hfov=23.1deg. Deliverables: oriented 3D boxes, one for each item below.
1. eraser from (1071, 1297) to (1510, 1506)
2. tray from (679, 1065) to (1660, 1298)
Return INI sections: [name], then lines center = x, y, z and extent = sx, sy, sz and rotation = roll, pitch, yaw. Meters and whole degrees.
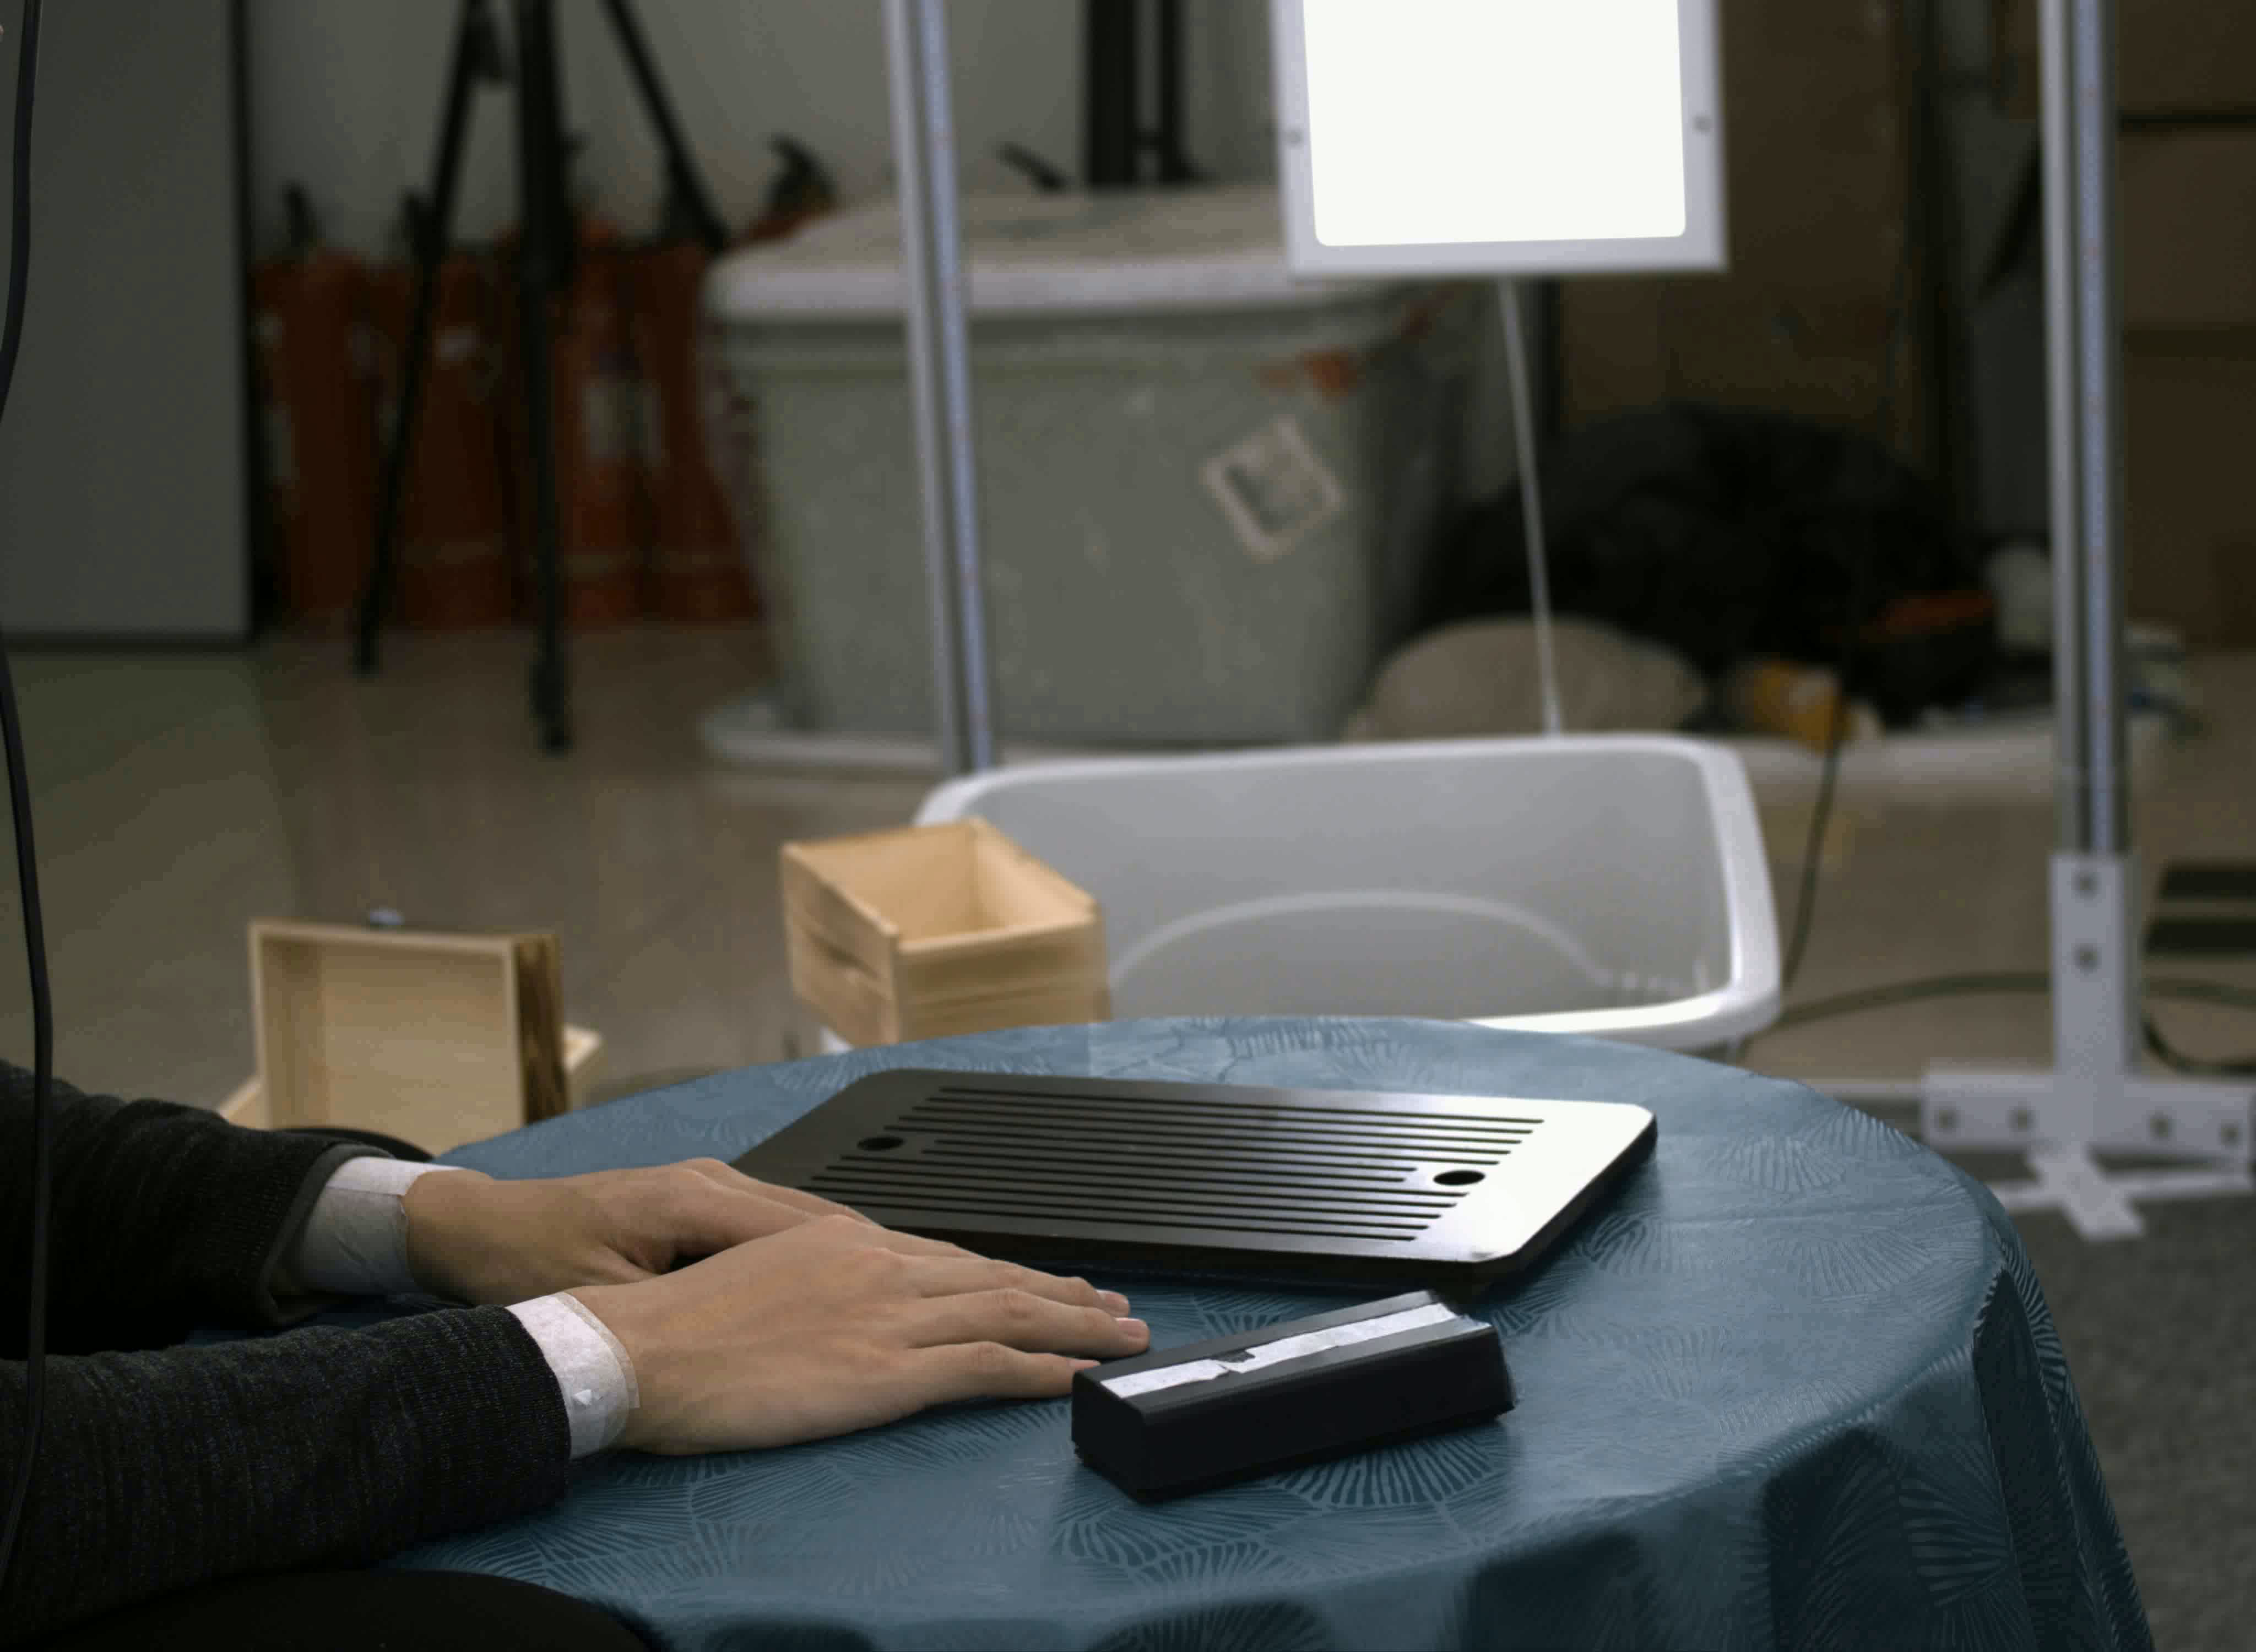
[eraser]
center = 0.050, 0.170, 1.643
extent = 0.123, 0.030, 0.054
rotation = -12, 13, -23
[tray]
center = 0.015, 0.120, 1.883
extent = 0.311, 0.019, 0.166
rotation = 2, 15, 26
